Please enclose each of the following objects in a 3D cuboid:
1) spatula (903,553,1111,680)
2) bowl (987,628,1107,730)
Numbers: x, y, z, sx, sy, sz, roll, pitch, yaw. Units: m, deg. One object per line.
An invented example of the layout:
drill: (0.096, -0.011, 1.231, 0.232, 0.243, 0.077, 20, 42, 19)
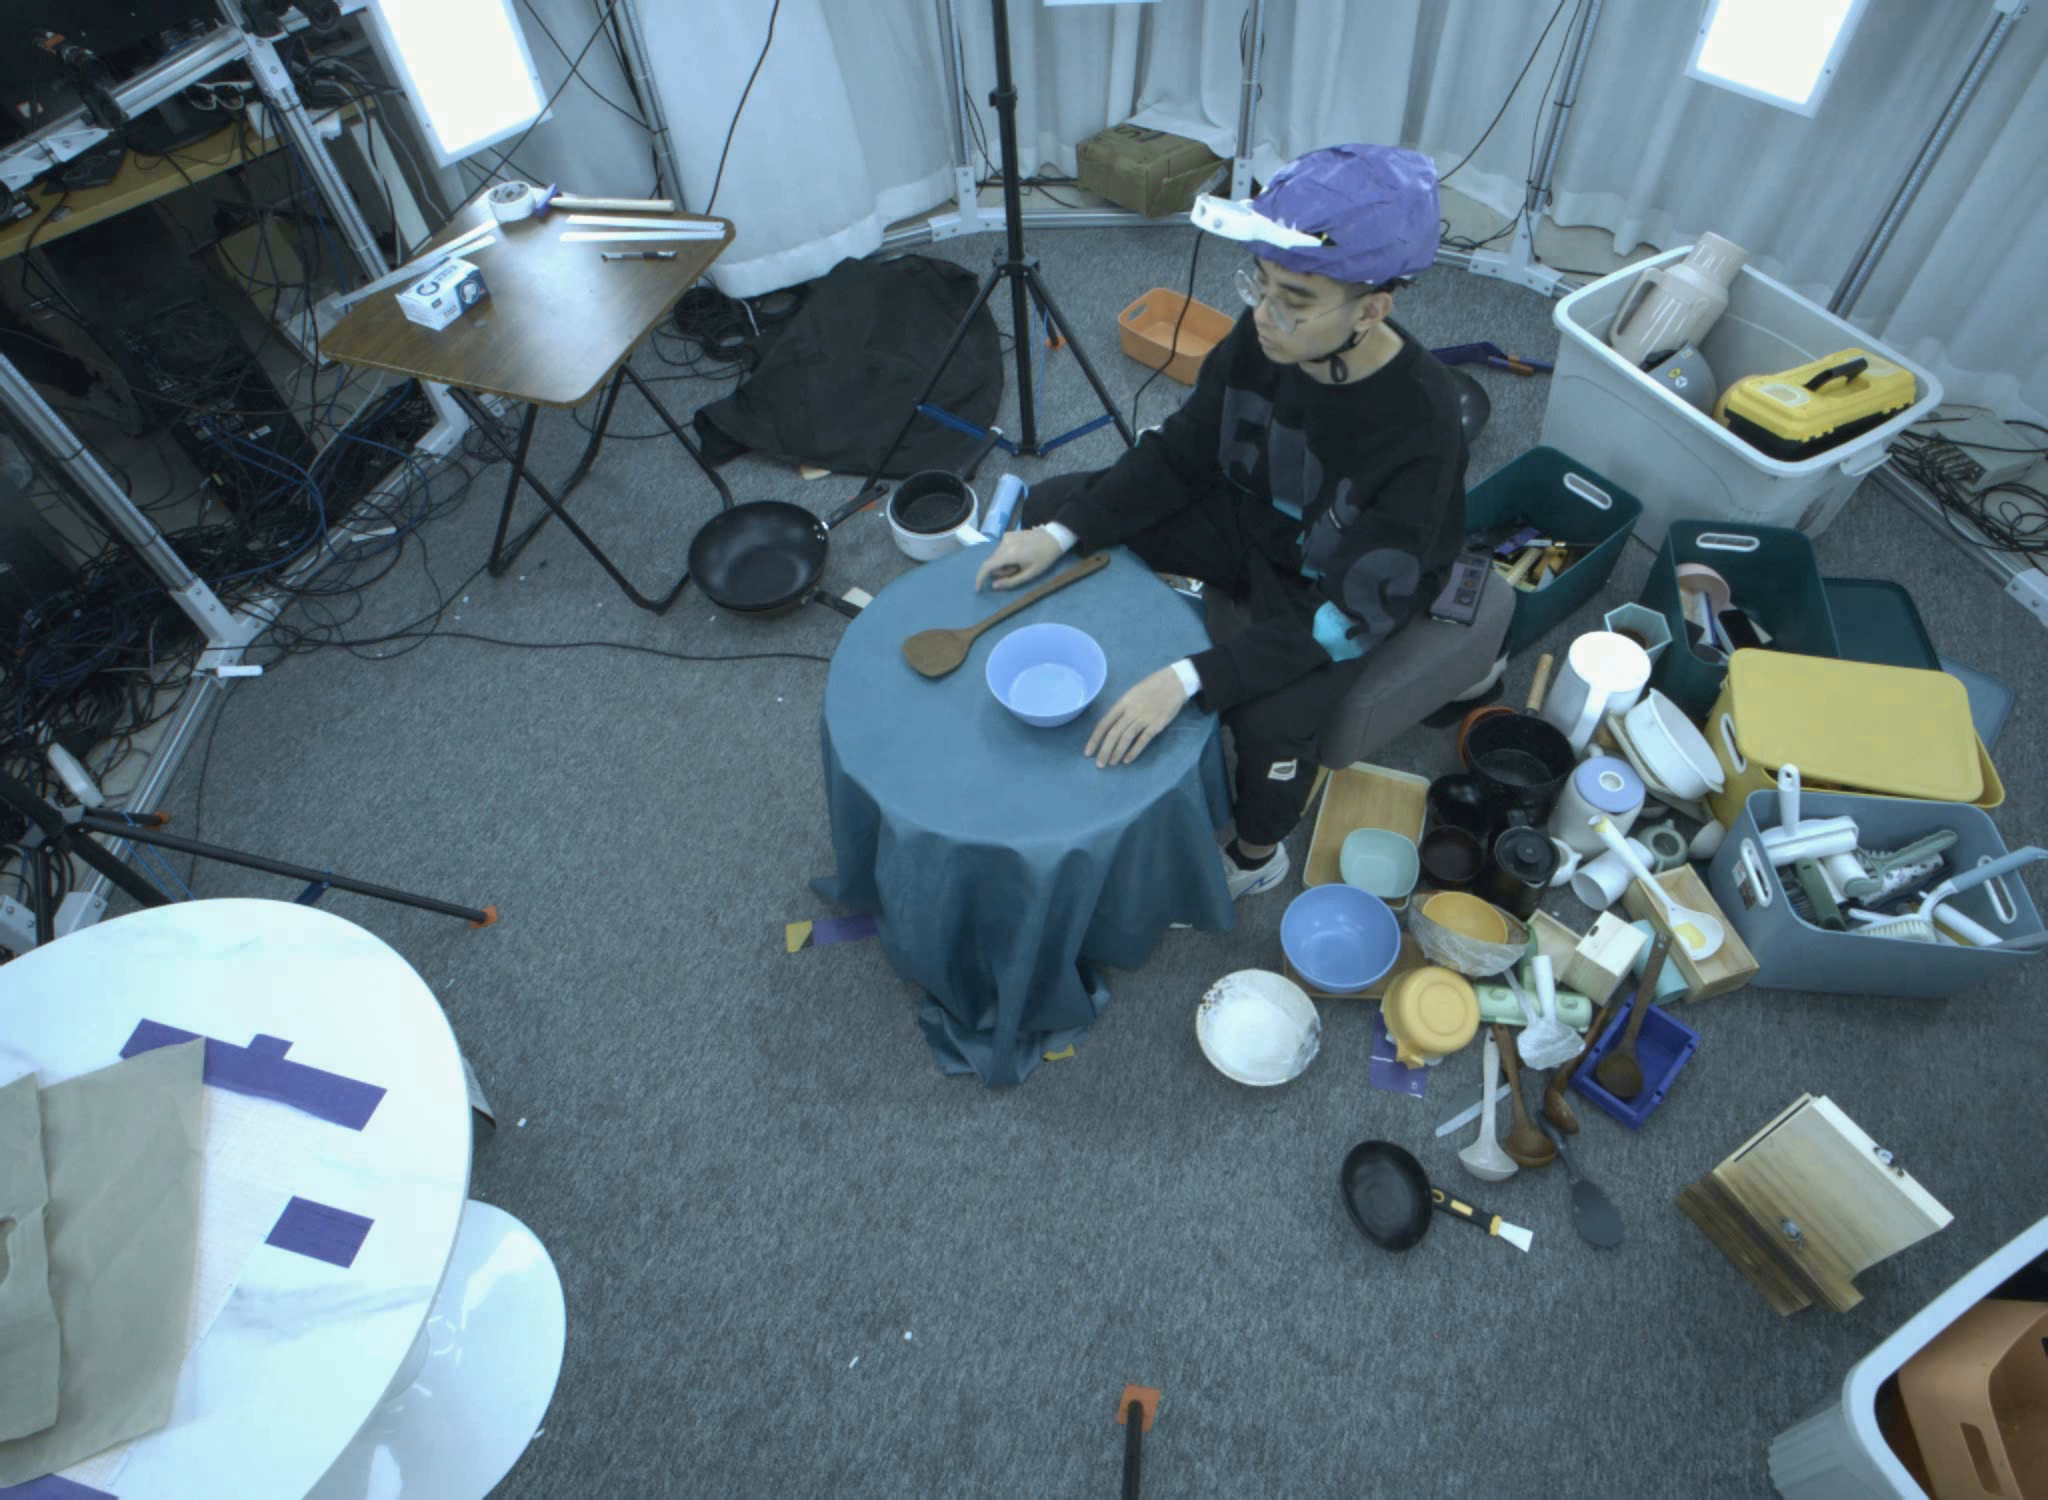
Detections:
spatula: (-0.016, -0.223, 1.946, 0.389, 0.016, 0.094, -32, 60, -19)
bowl: (0.035, -0.096, 1.821, 0.176, 0.071, 0.174, 0, 55, 1)
